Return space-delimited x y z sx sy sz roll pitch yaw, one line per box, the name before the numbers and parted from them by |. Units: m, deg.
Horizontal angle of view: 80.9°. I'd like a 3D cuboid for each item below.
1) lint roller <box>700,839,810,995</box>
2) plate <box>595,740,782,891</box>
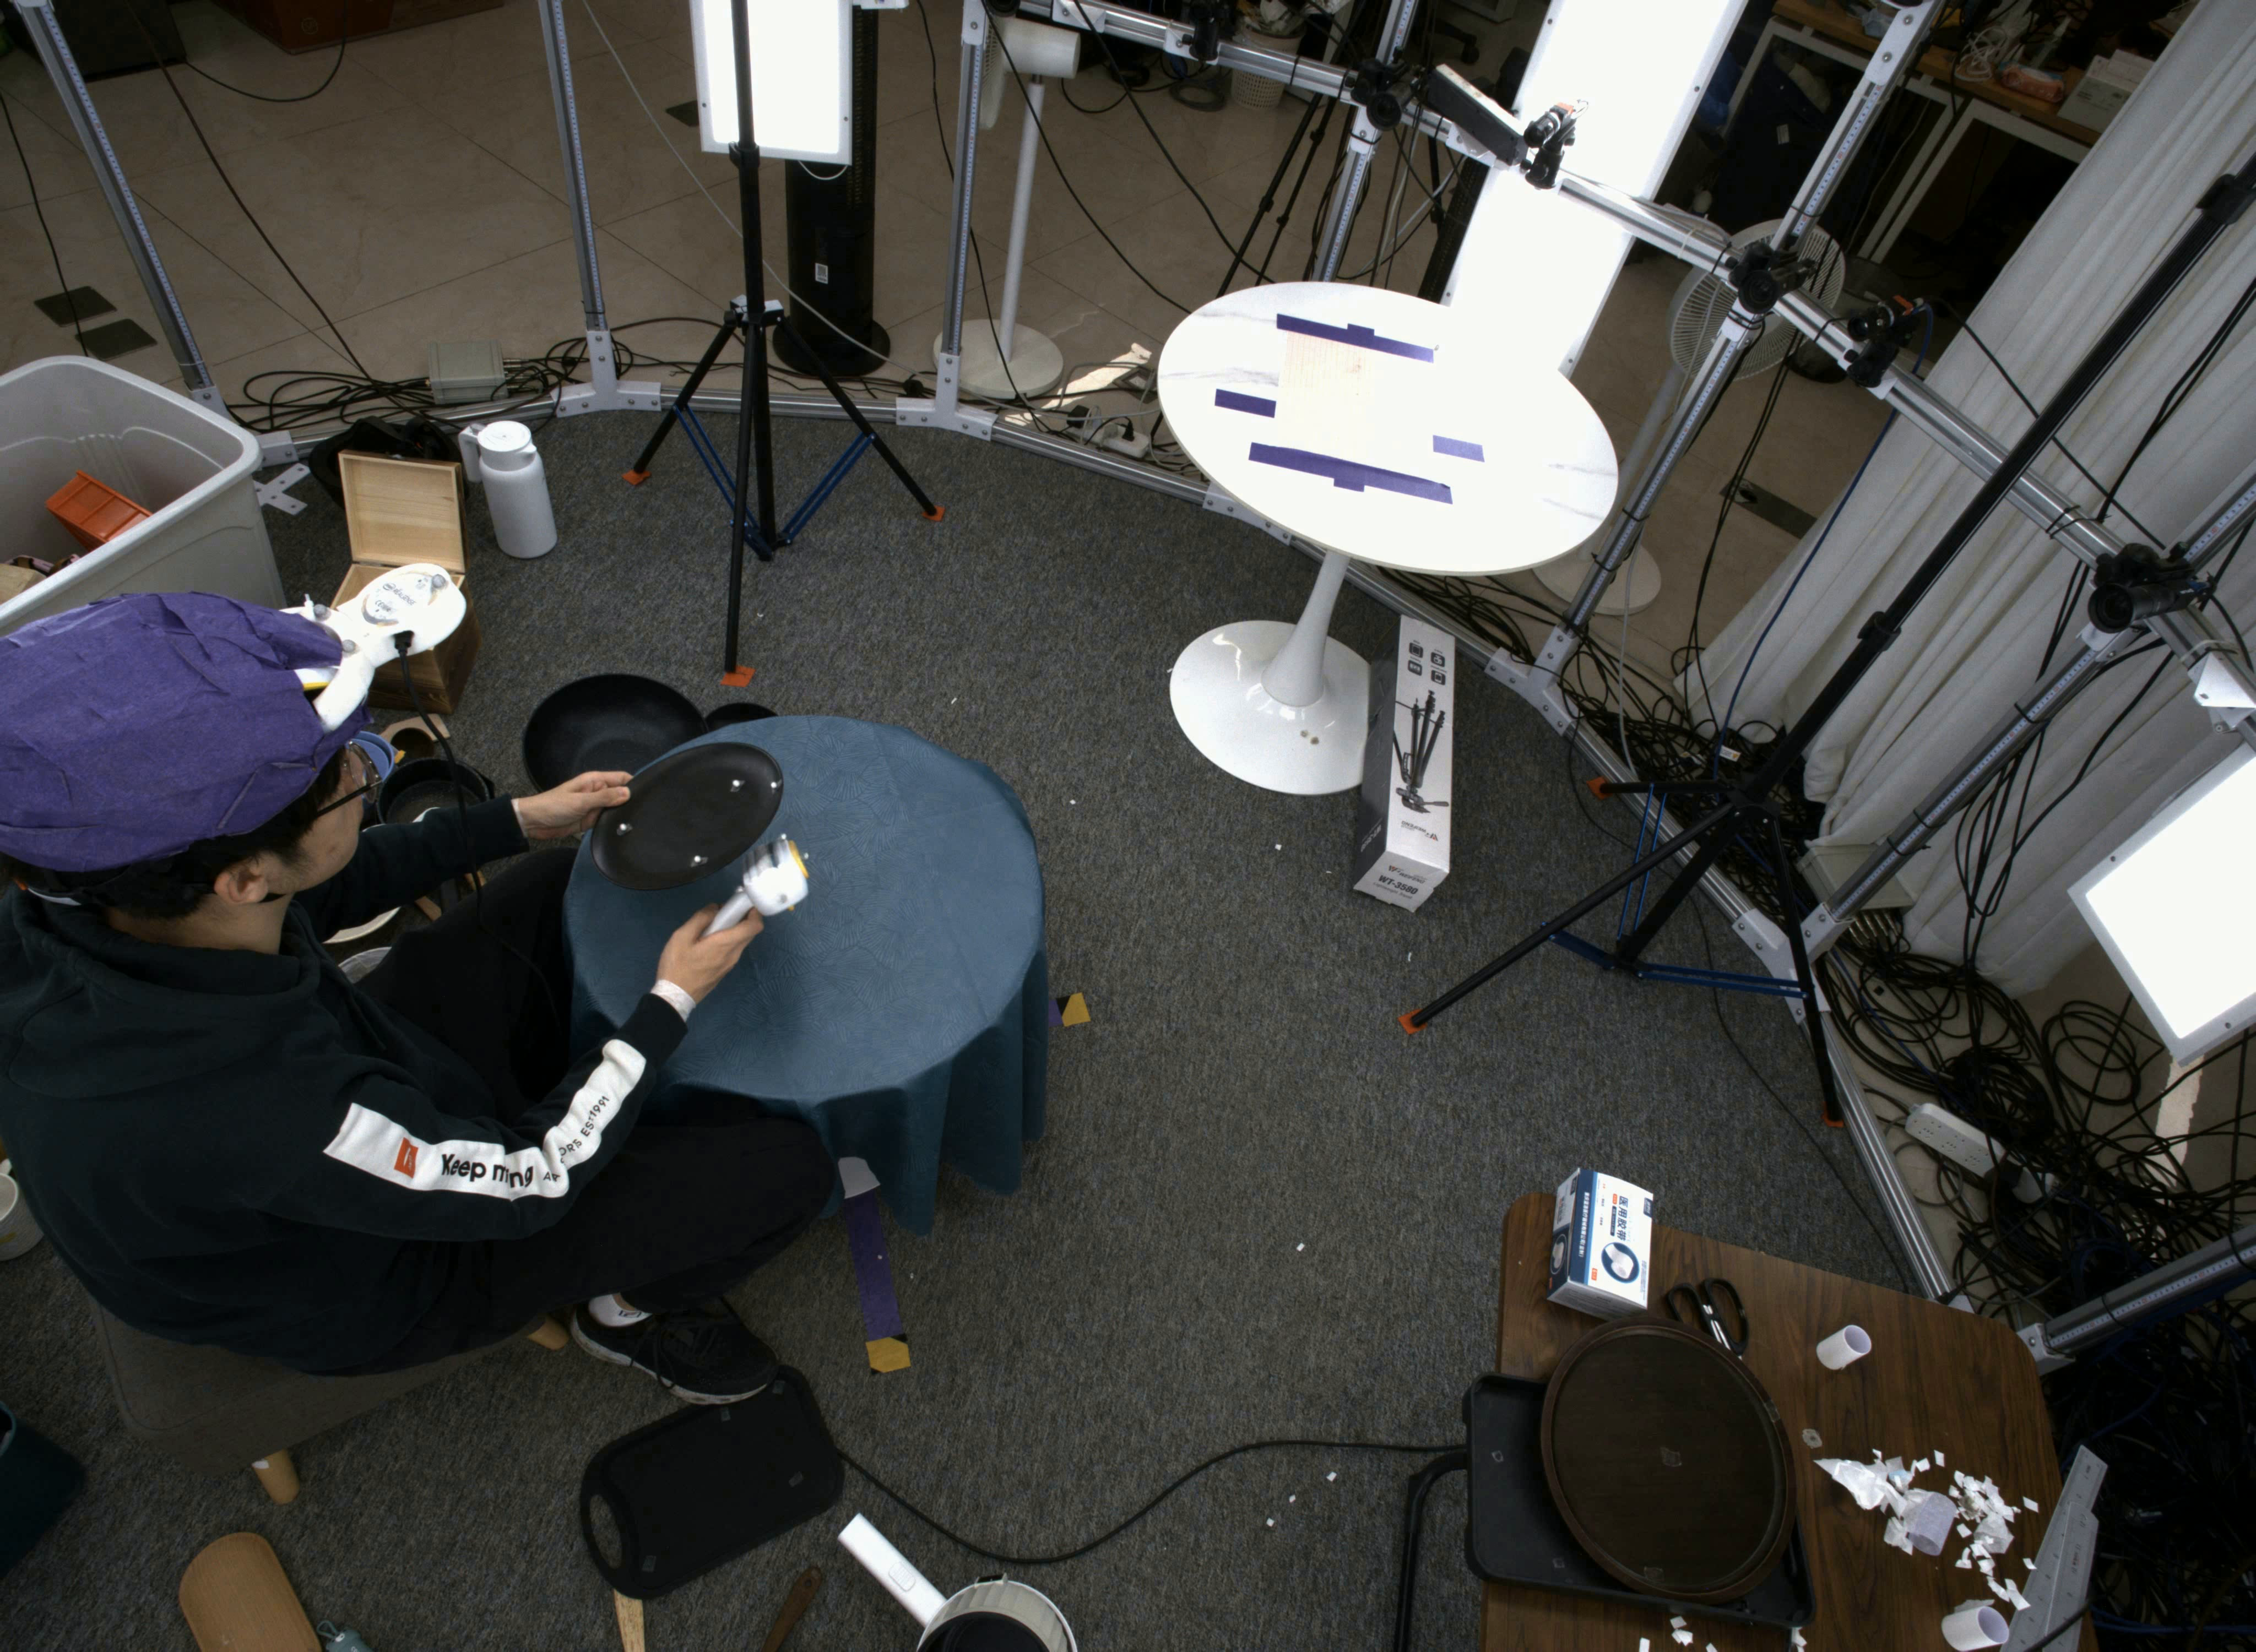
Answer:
lint roller | -0.443 0.108 1.503 0.192 0.187 0.076 -46 112 0
plate | -0.522 -0.012 1.533 0.240 0.024 0.239 -7 46 8
